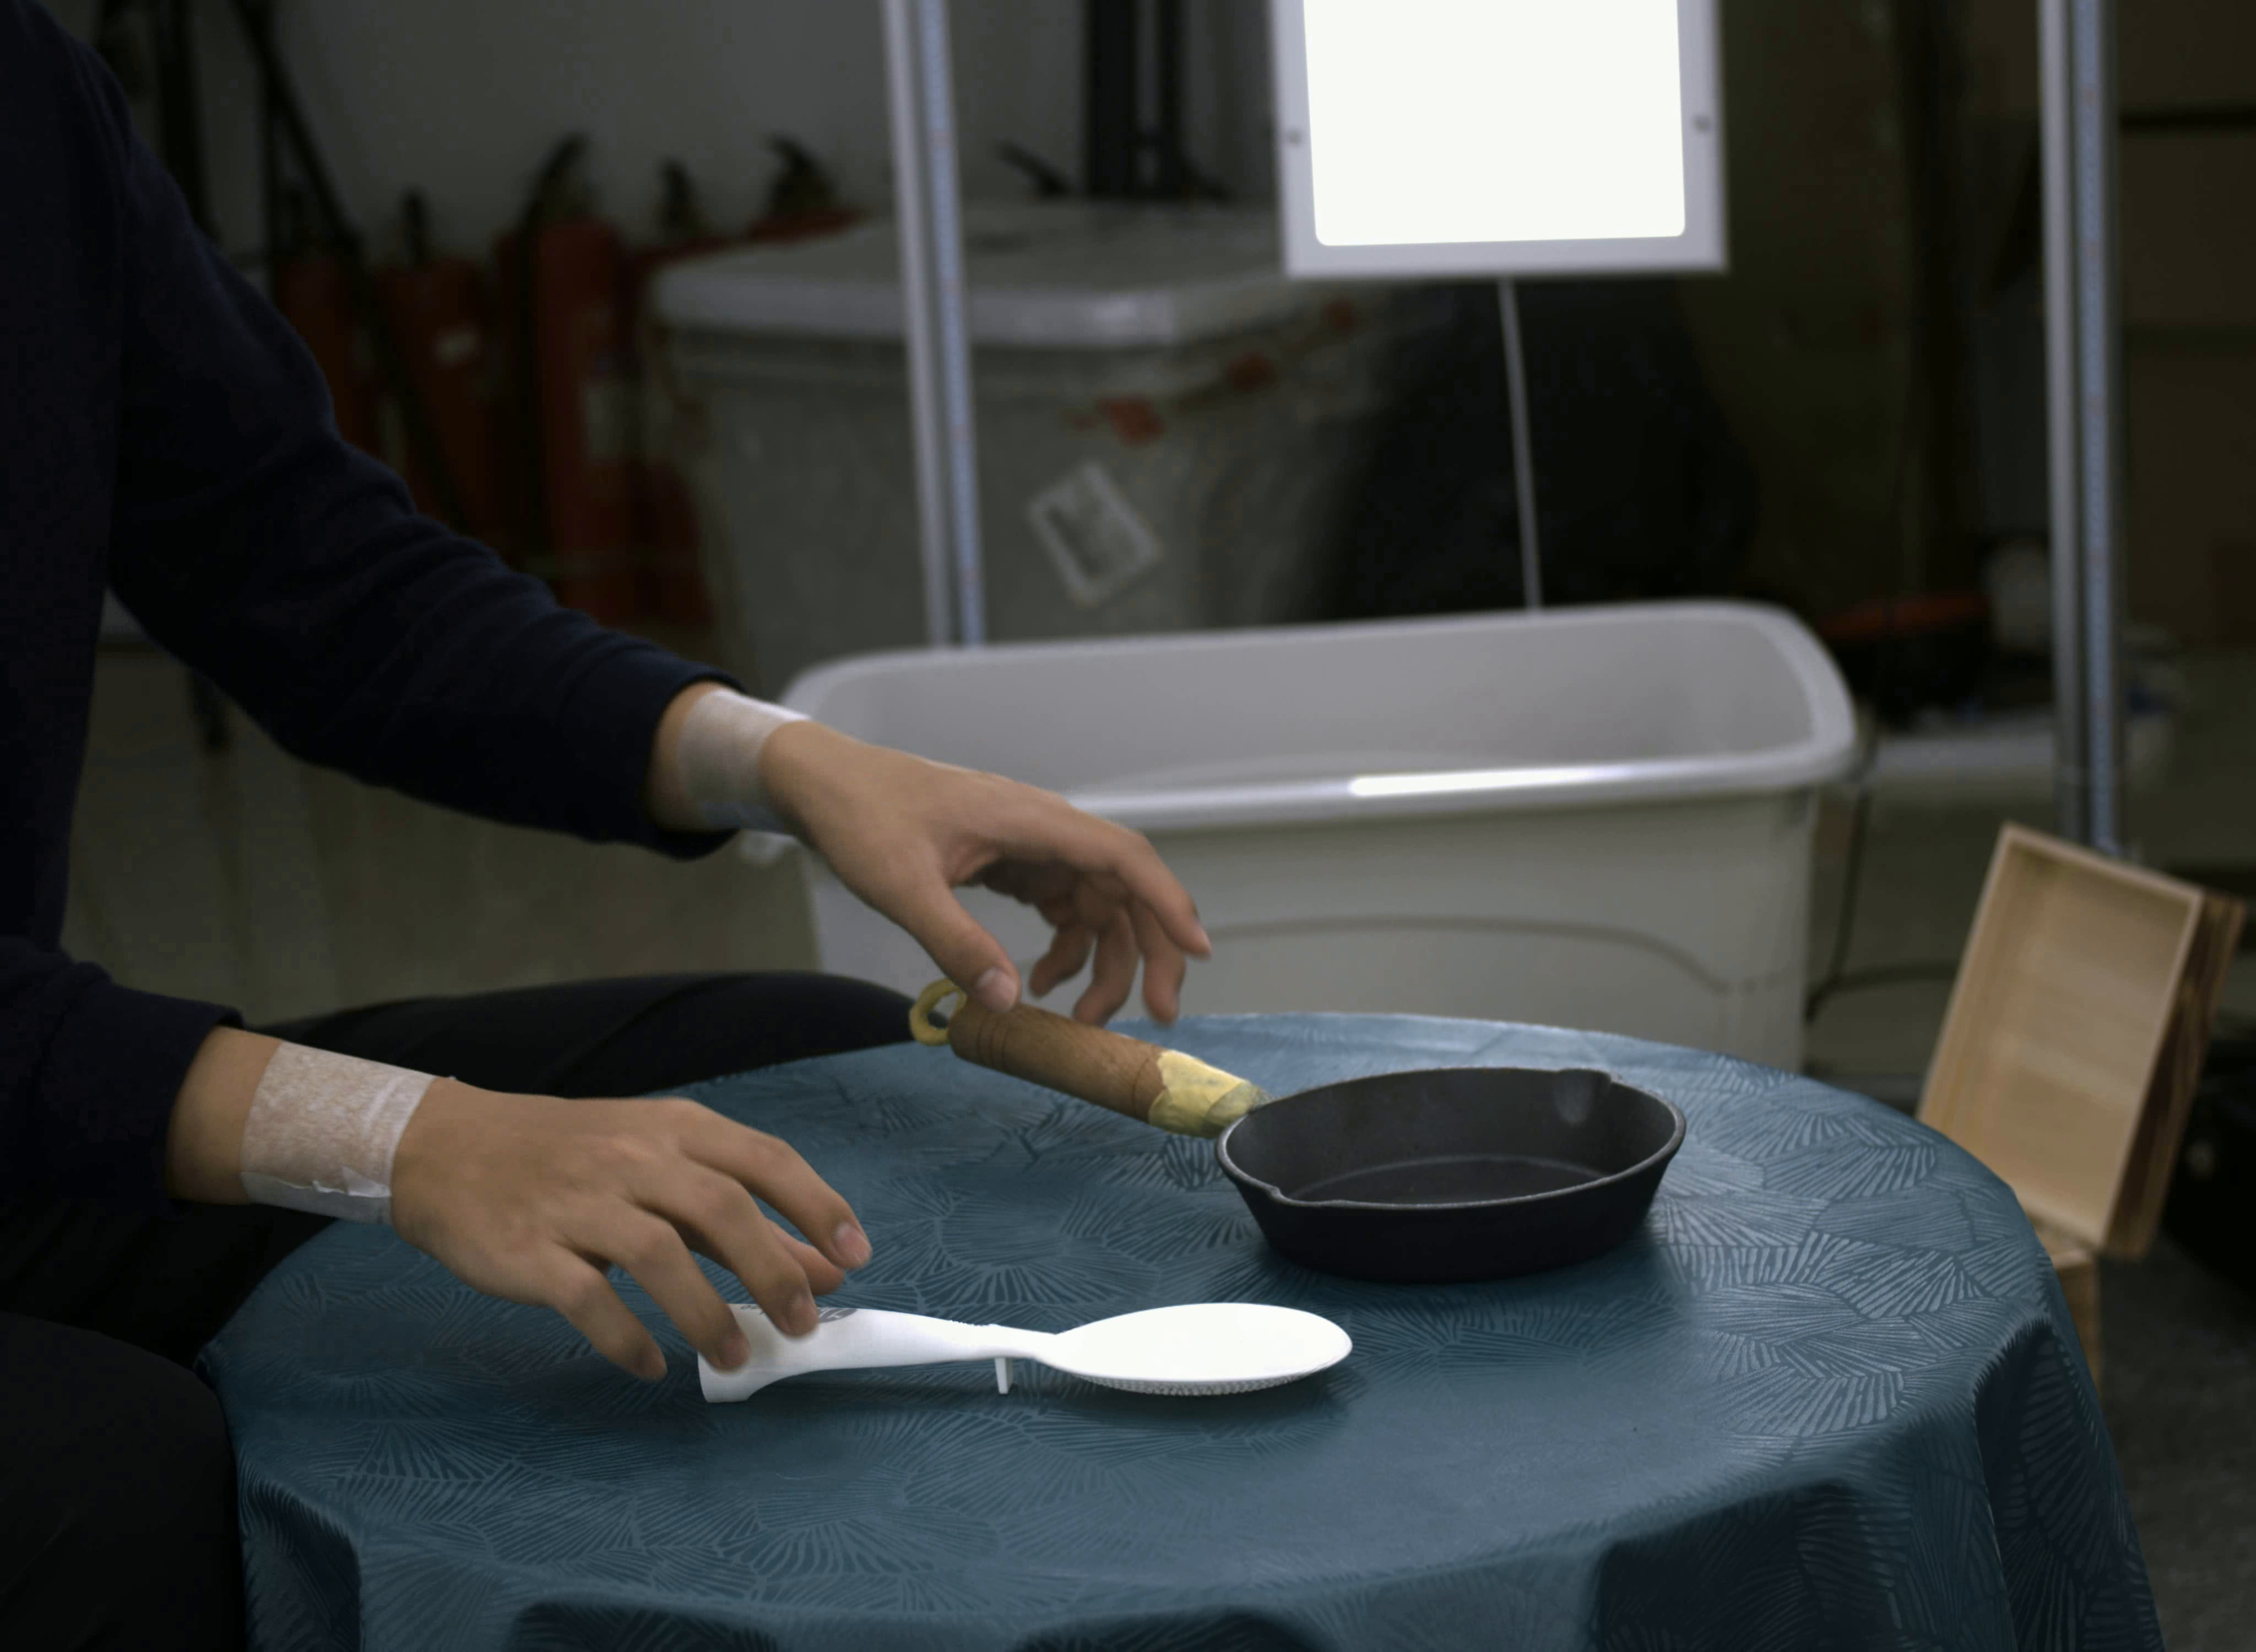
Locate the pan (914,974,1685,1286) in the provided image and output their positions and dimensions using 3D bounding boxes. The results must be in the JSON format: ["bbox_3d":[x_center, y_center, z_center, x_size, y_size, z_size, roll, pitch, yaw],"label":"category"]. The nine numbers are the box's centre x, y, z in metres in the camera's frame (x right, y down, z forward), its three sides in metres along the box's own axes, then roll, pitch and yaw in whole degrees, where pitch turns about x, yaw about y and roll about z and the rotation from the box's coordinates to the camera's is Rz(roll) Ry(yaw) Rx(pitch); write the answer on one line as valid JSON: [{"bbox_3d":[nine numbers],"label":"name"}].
[{"bbox_3d":[0.046,0.099,1.887,0.331,0.050,0.164,11,21,44],"label":"pan"}]

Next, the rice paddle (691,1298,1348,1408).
[{"bbox_3d":[-0.033,0.161,1.709,0.206,0.029,0.068,-3,16,10],"label":"rice paddle"}]
